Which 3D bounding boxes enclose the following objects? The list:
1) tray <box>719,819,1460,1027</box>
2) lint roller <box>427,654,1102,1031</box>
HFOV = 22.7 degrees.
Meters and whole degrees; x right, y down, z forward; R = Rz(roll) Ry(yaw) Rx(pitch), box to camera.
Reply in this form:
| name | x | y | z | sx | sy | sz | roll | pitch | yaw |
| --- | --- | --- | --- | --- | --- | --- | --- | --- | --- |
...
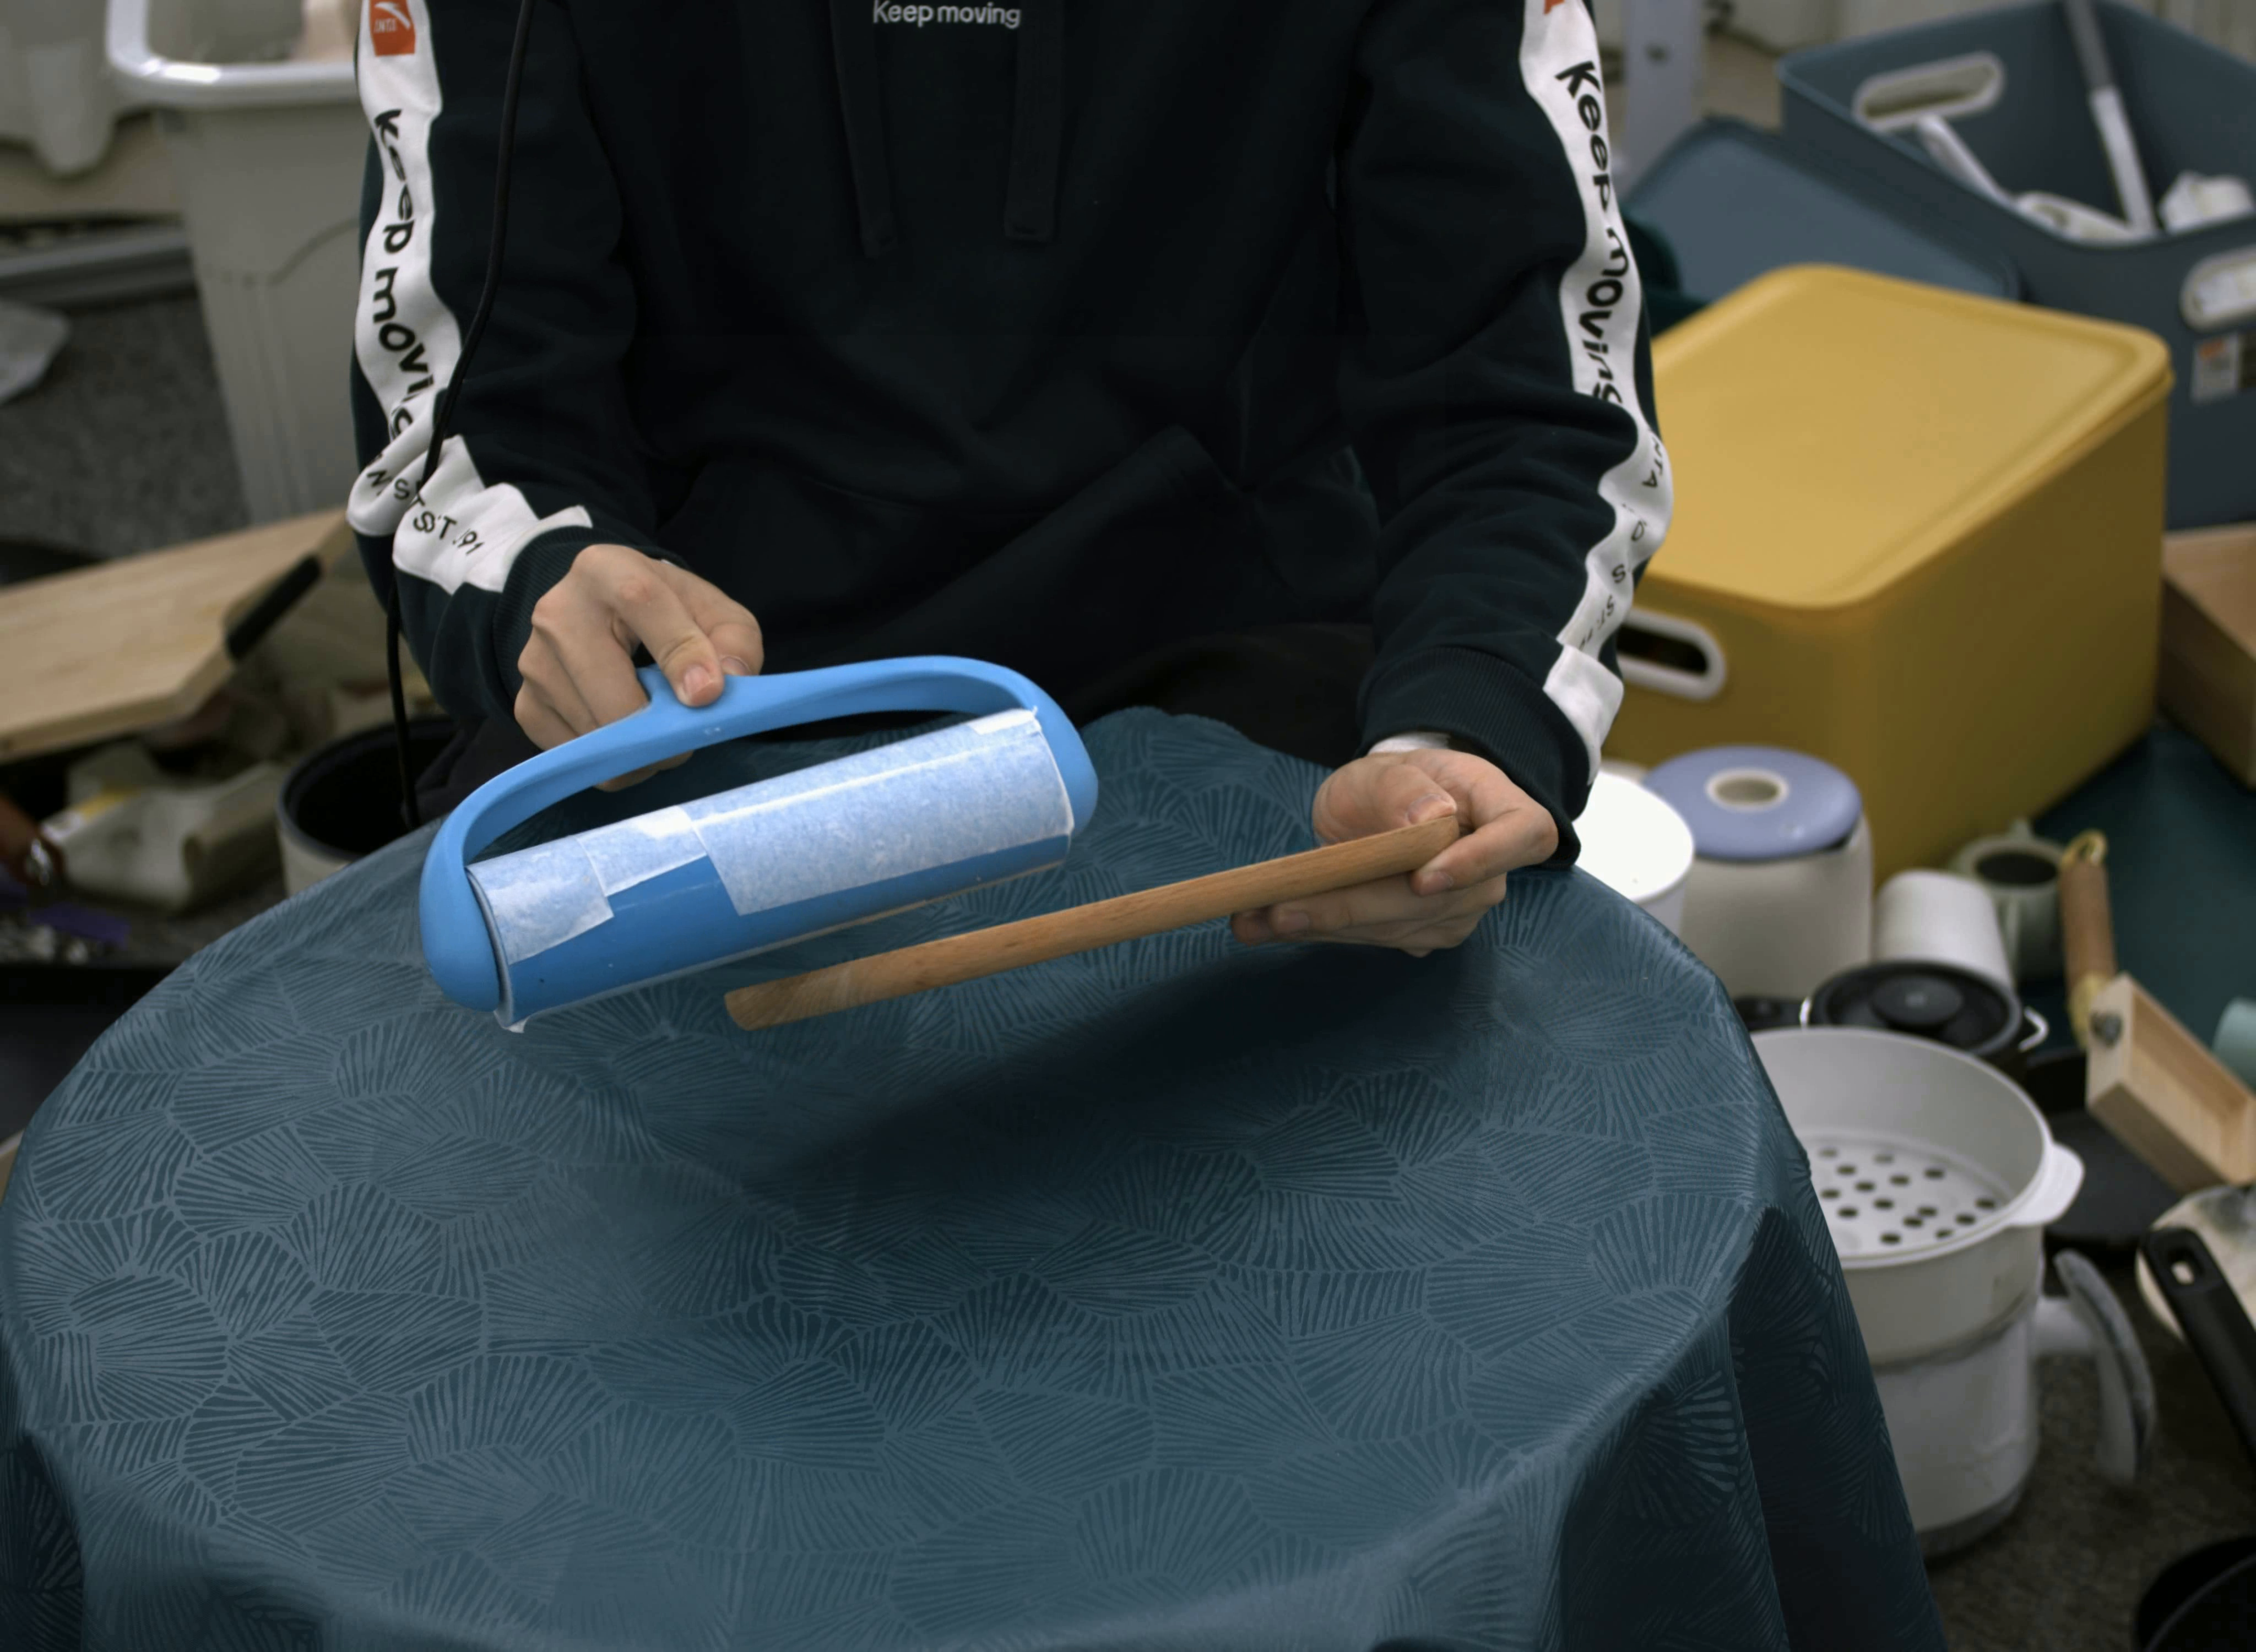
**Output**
| name | x | y | z | sx | sy | sz | roll | pitch | yaw |
| --- | --- | --- | --- | --- | --- | --- | --- | --- | --- |
| tray | -0.010 | 0.032 | 1.882 | 0.252 | 0.023 | 0.129 | -13 | -4 | -37 |
| lint roller | -0.141 | -0.017 | 1.854 | 0.230 | 0.067 | 0.182 | -20 | 36 | -19 |
